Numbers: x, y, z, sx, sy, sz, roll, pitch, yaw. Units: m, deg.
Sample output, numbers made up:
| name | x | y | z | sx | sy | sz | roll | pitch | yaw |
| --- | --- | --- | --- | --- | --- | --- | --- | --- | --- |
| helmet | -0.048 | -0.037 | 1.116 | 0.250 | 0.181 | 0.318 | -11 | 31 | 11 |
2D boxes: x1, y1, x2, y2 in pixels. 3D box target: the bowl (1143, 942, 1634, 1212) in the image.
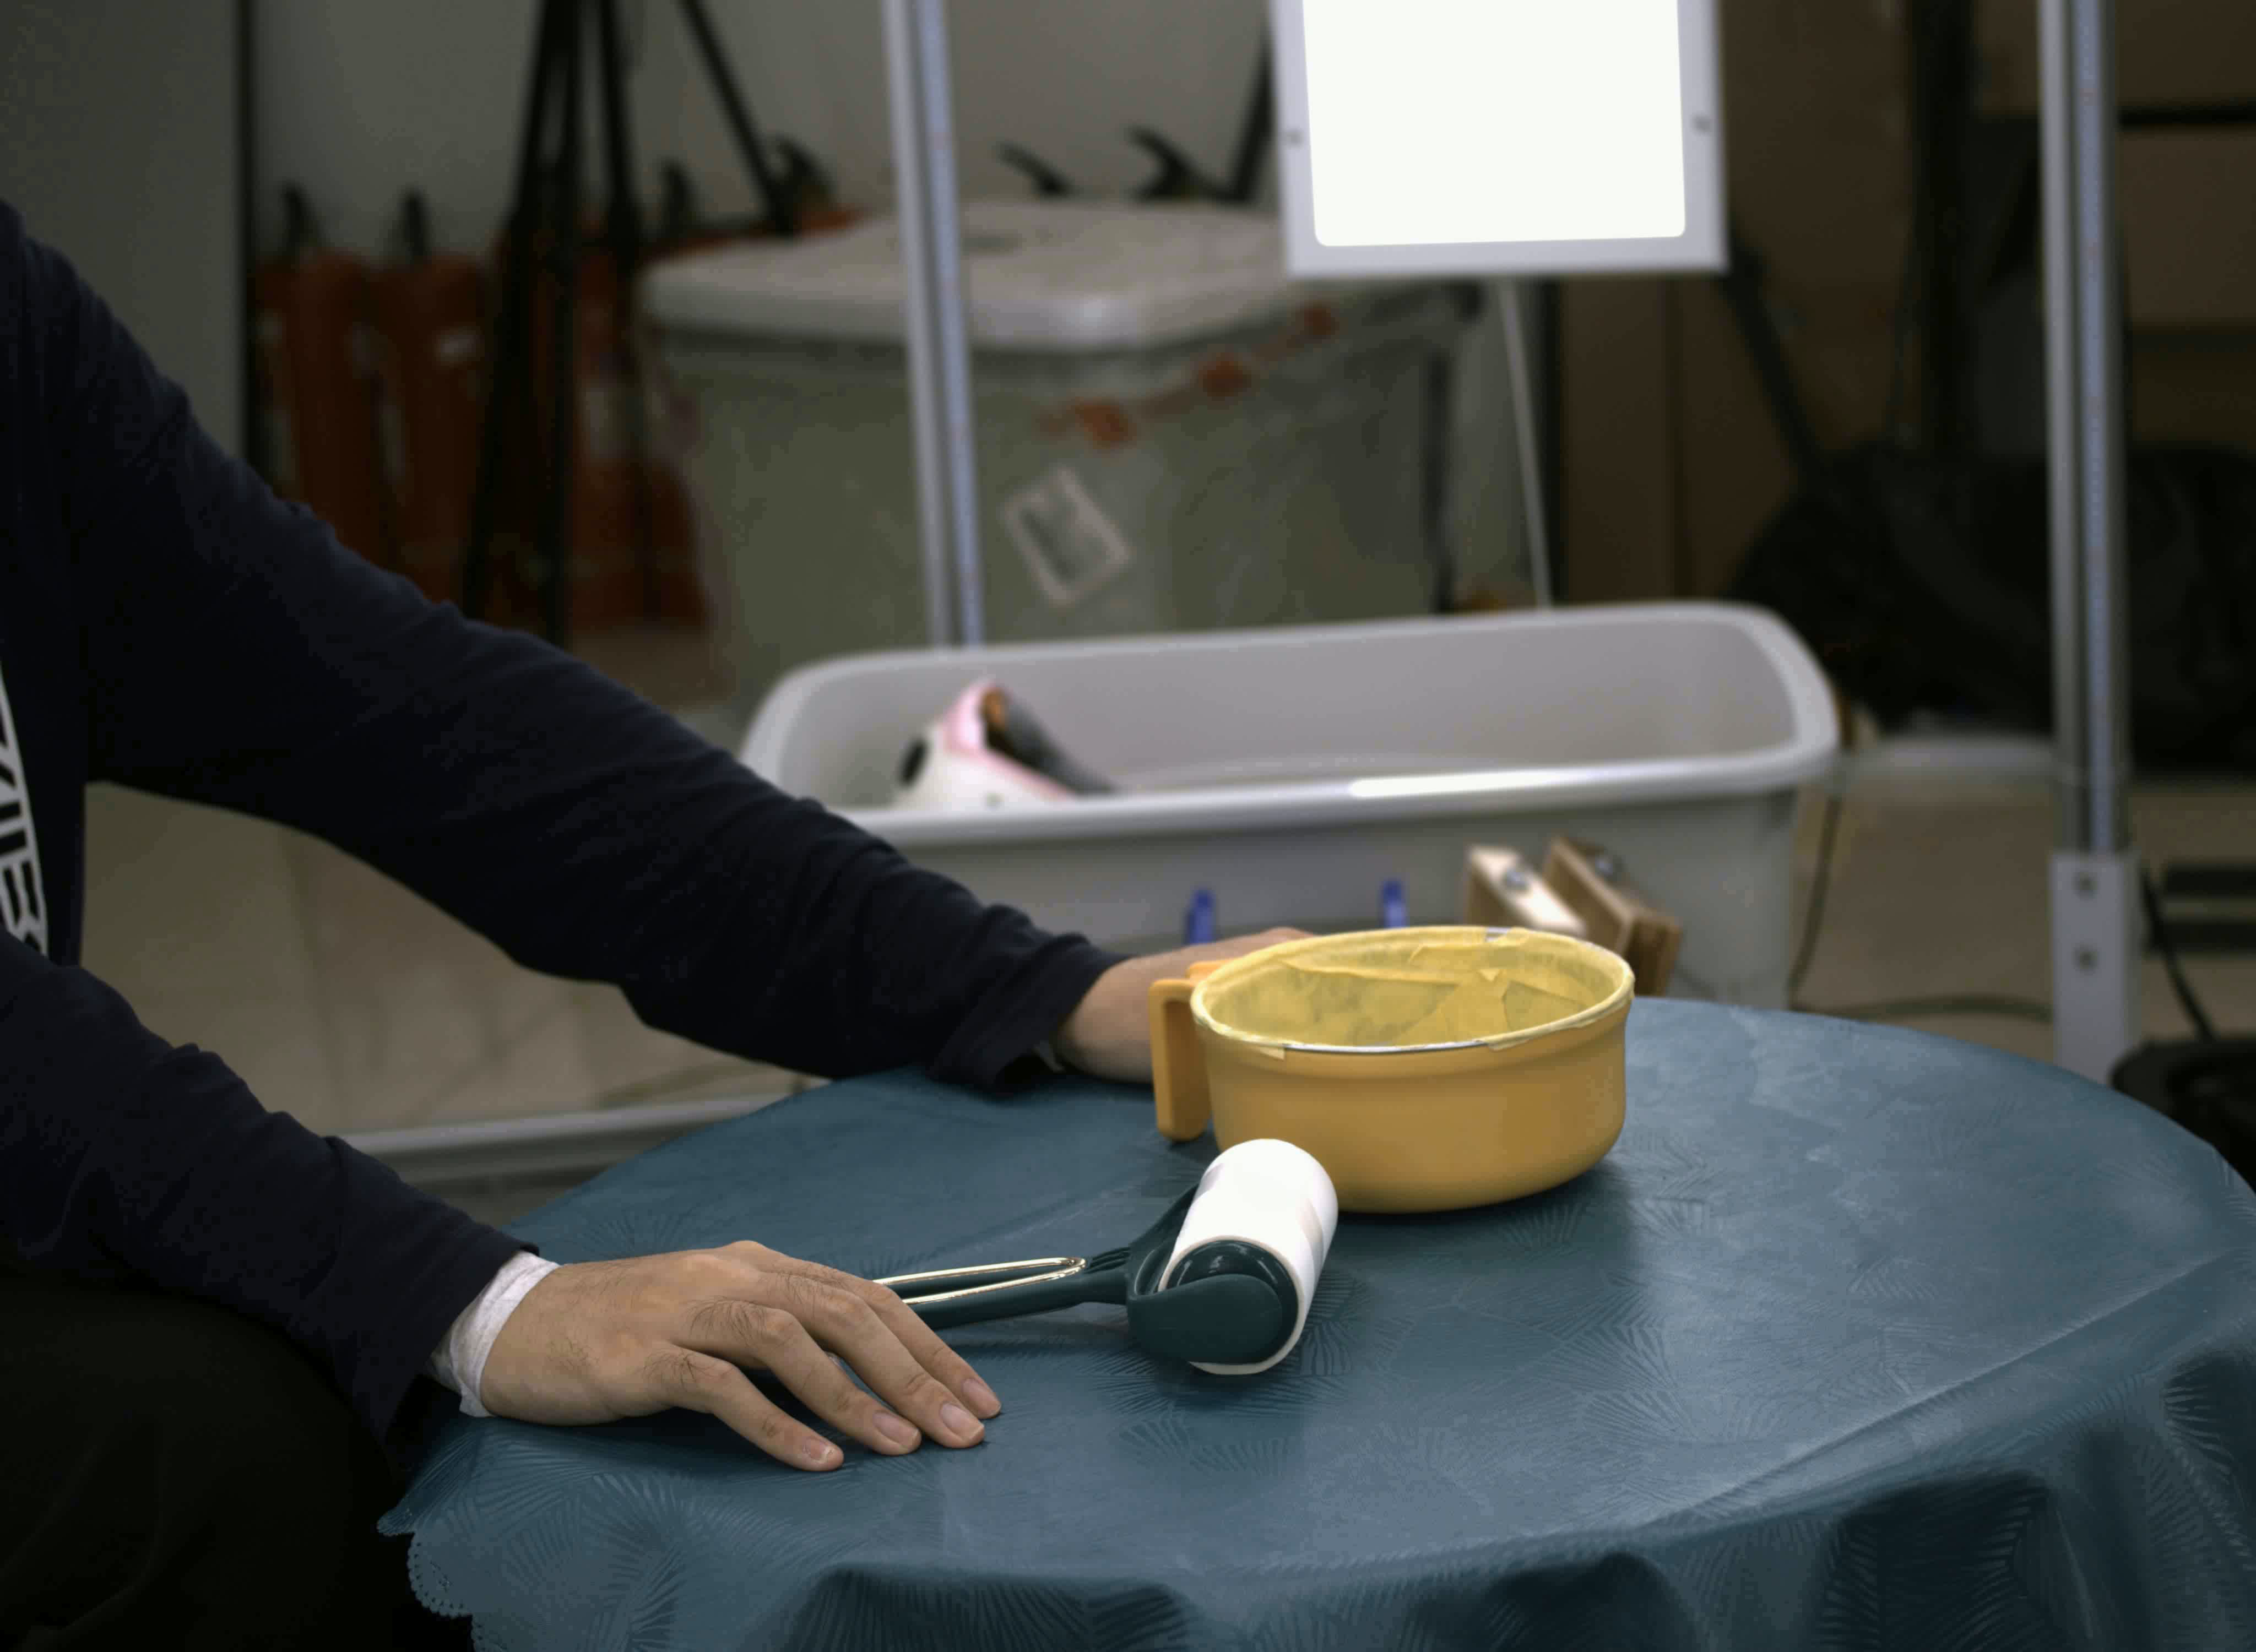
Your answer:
| name | x | y | z | sx | sy | sz | roll | pitch | yaw |
| --- | --- | --- | --- | --- | --- | --- | --- | --- | --- |
| bowl | 0.088 | 0.086 | 1.900 | 0.182 | 0.074 | 0.149 | 3 | 17 | 30 |

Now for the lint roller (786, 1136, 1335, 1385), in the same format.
| name | x | y | z | sx | sy | sz | roll | pitch | yaw |
| --- | --- | --- | --- | --- | --- | --- | --- | --- | --- |
| lint roller | -0.026 | 0.144 | 1.763 | 0.181 | 0.048 | 0.133 | -8 | 13 | 12 |
